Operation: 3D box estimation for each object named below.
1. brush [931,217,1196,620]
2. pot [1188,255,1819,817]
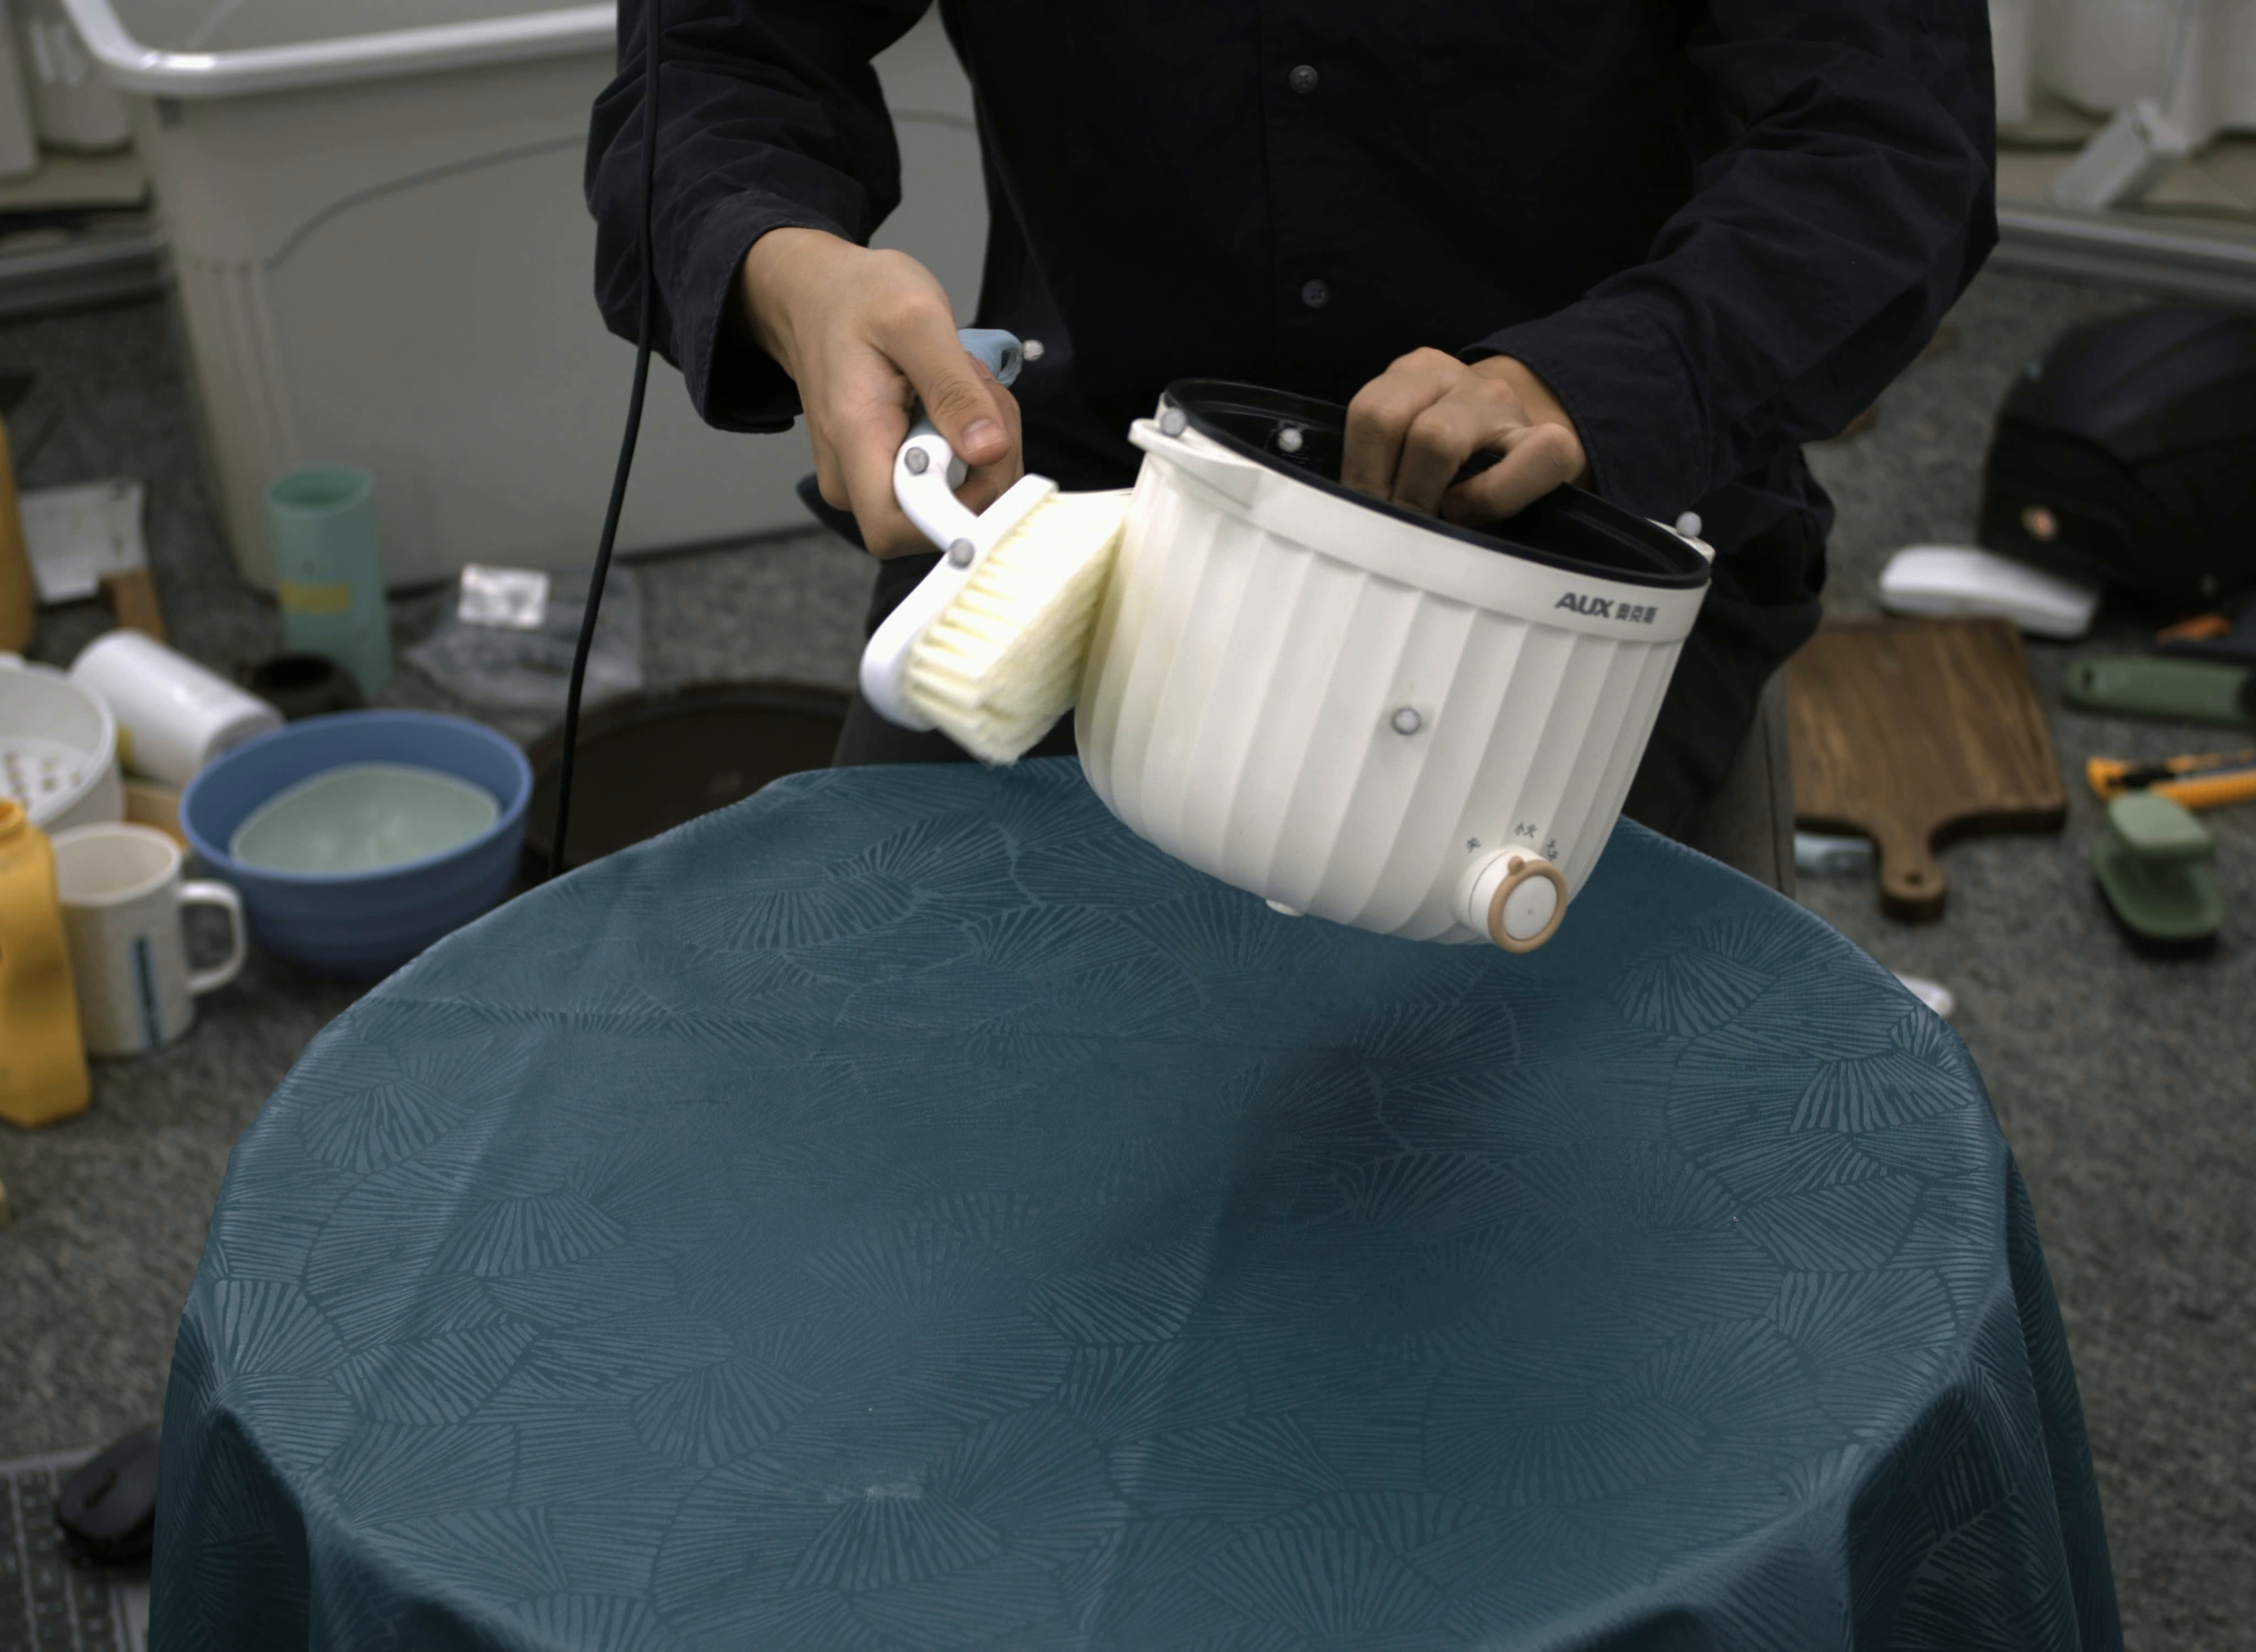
[{"bbox_3d":[-0.008,-0.145,1.863,0.082,0.084,0.330,-38,14,17],"label":"brush"},{"bbox_3d":[0.117,-0.087,1.795,0.241,0.142,0.190,7,14,-41],"label":"pot"}]
